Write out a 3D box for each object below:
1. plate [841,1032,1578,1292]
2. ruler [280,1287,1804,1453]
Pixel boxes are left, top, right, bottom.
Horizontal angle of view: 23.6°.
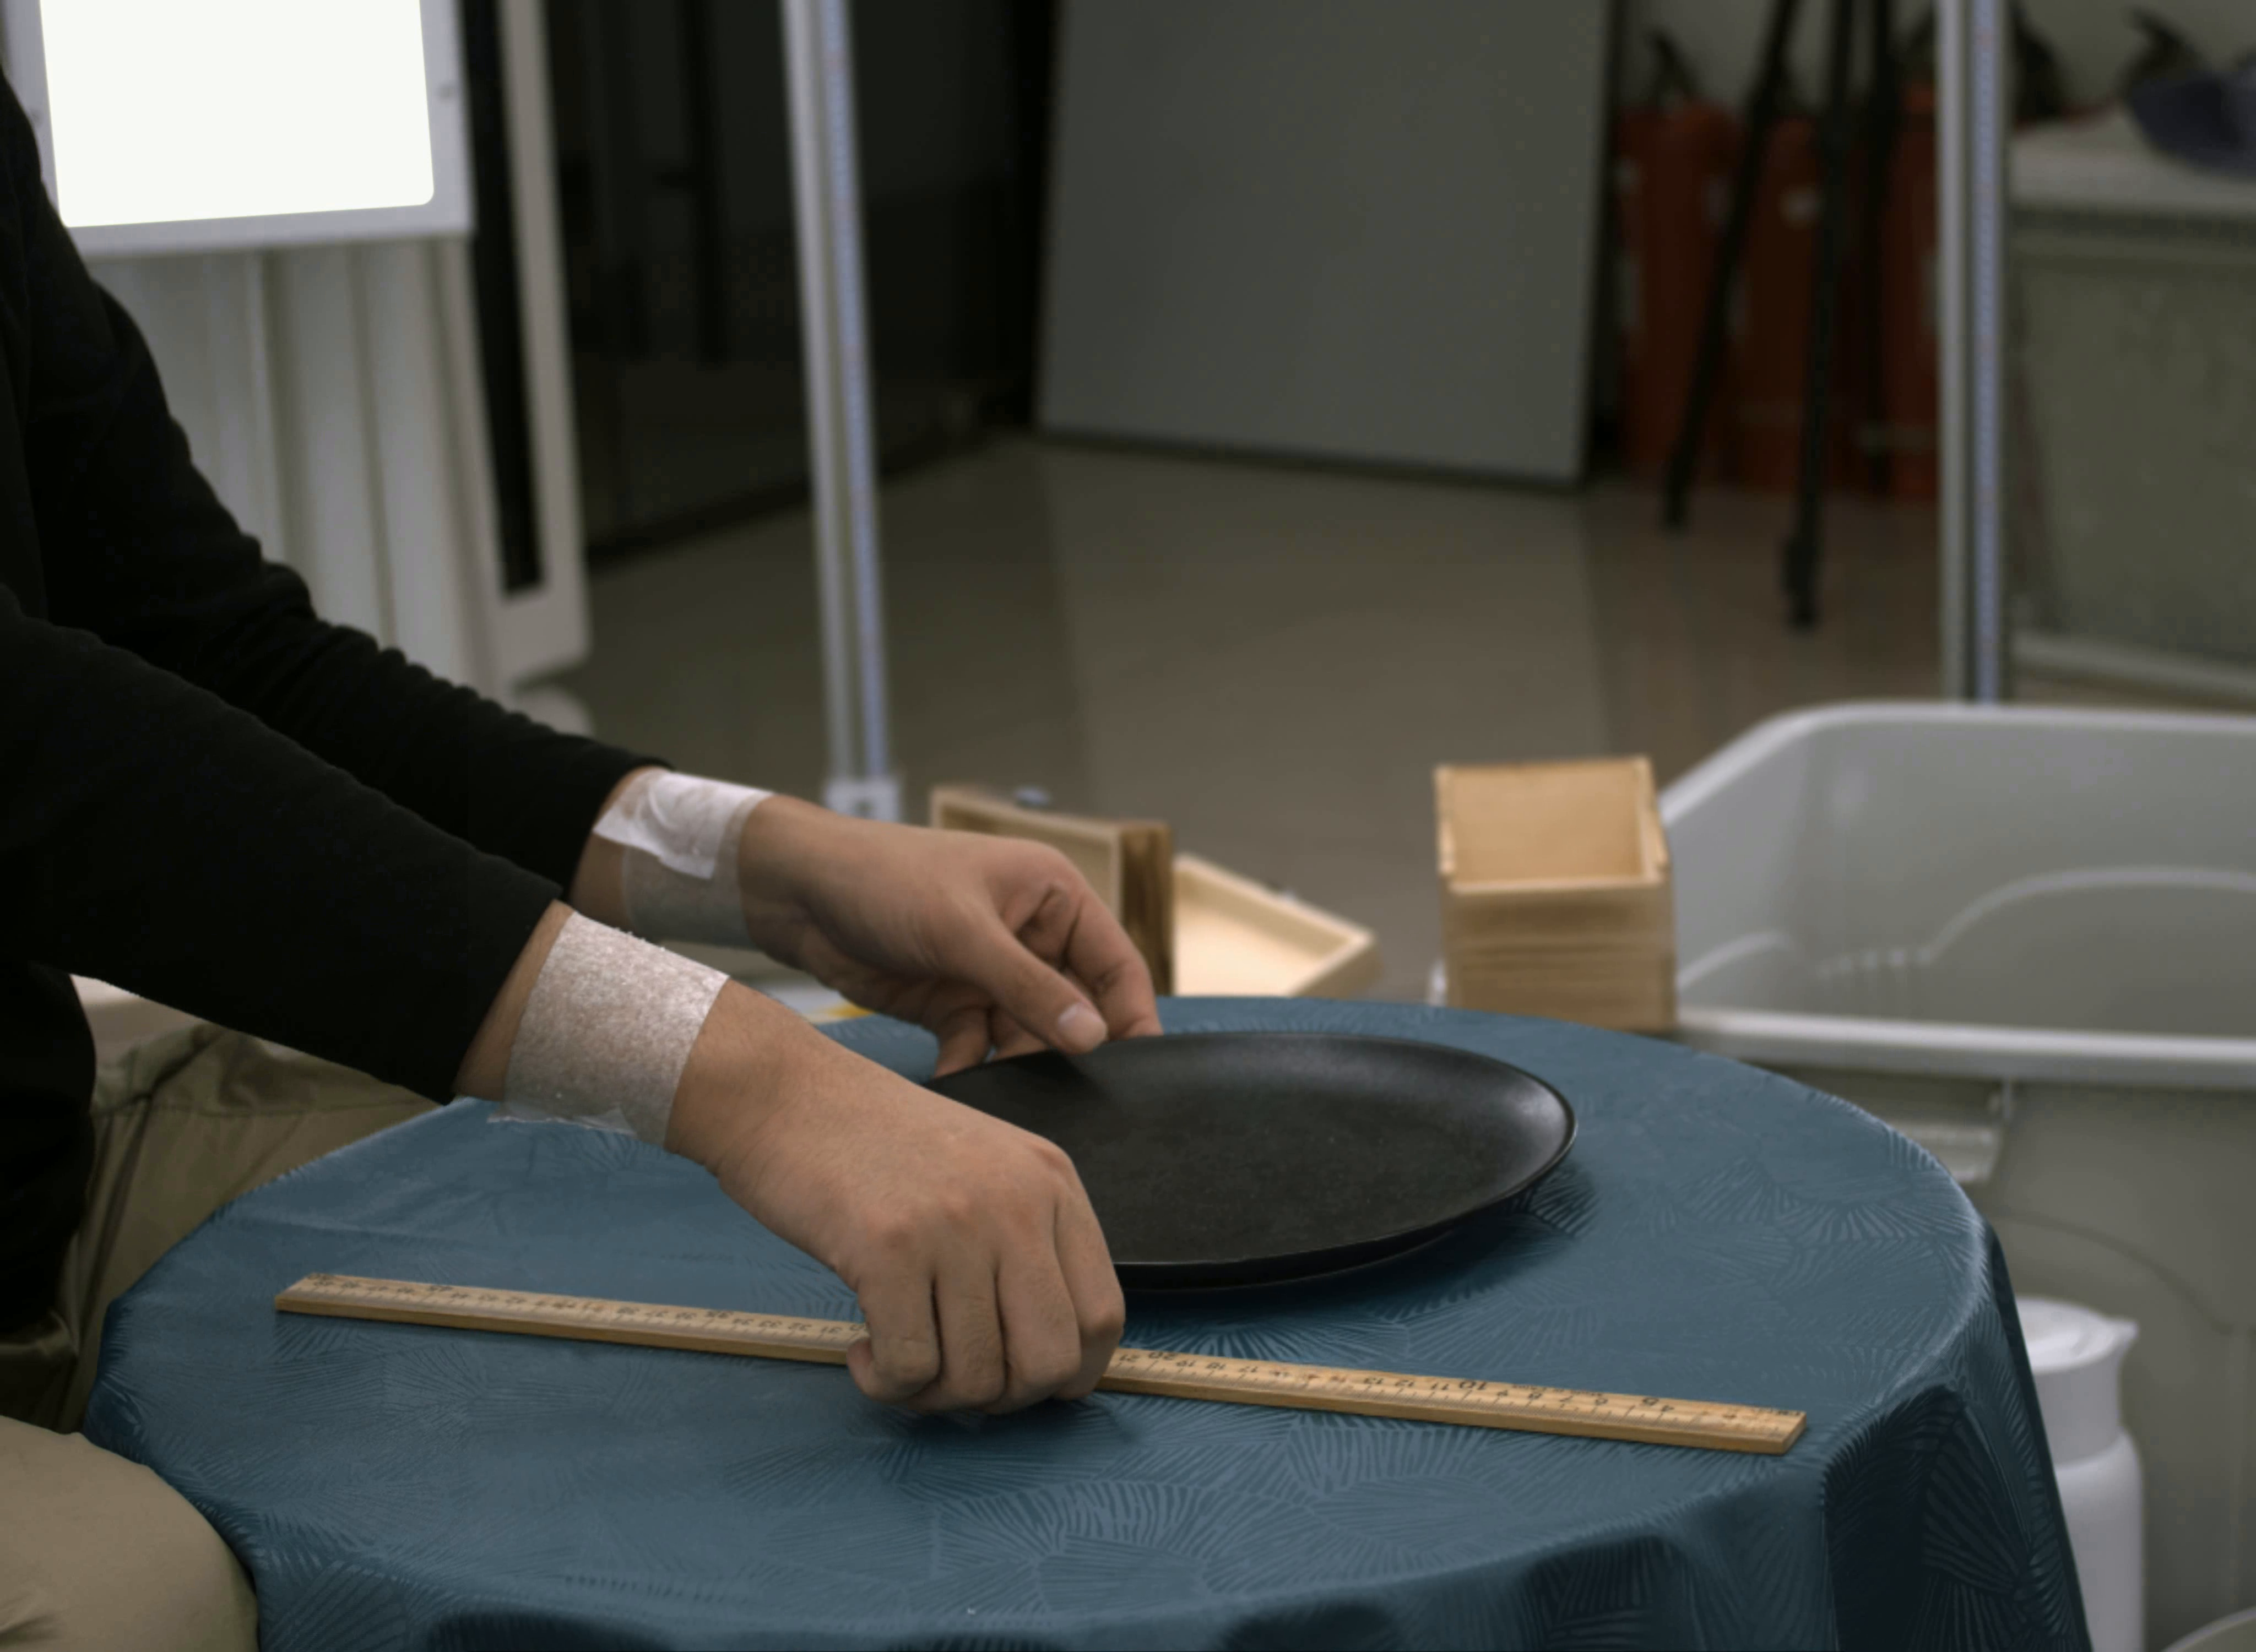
[{"bbox_3d":[0.027,0.111,1.752,0.241,0.024,0.245,-5,14,0],"label":"plate"},{"bbox_3d":[-0.038,0.160,1.612,0.501,0.006,0.026,2,11,26],"label":"ruler"}]
